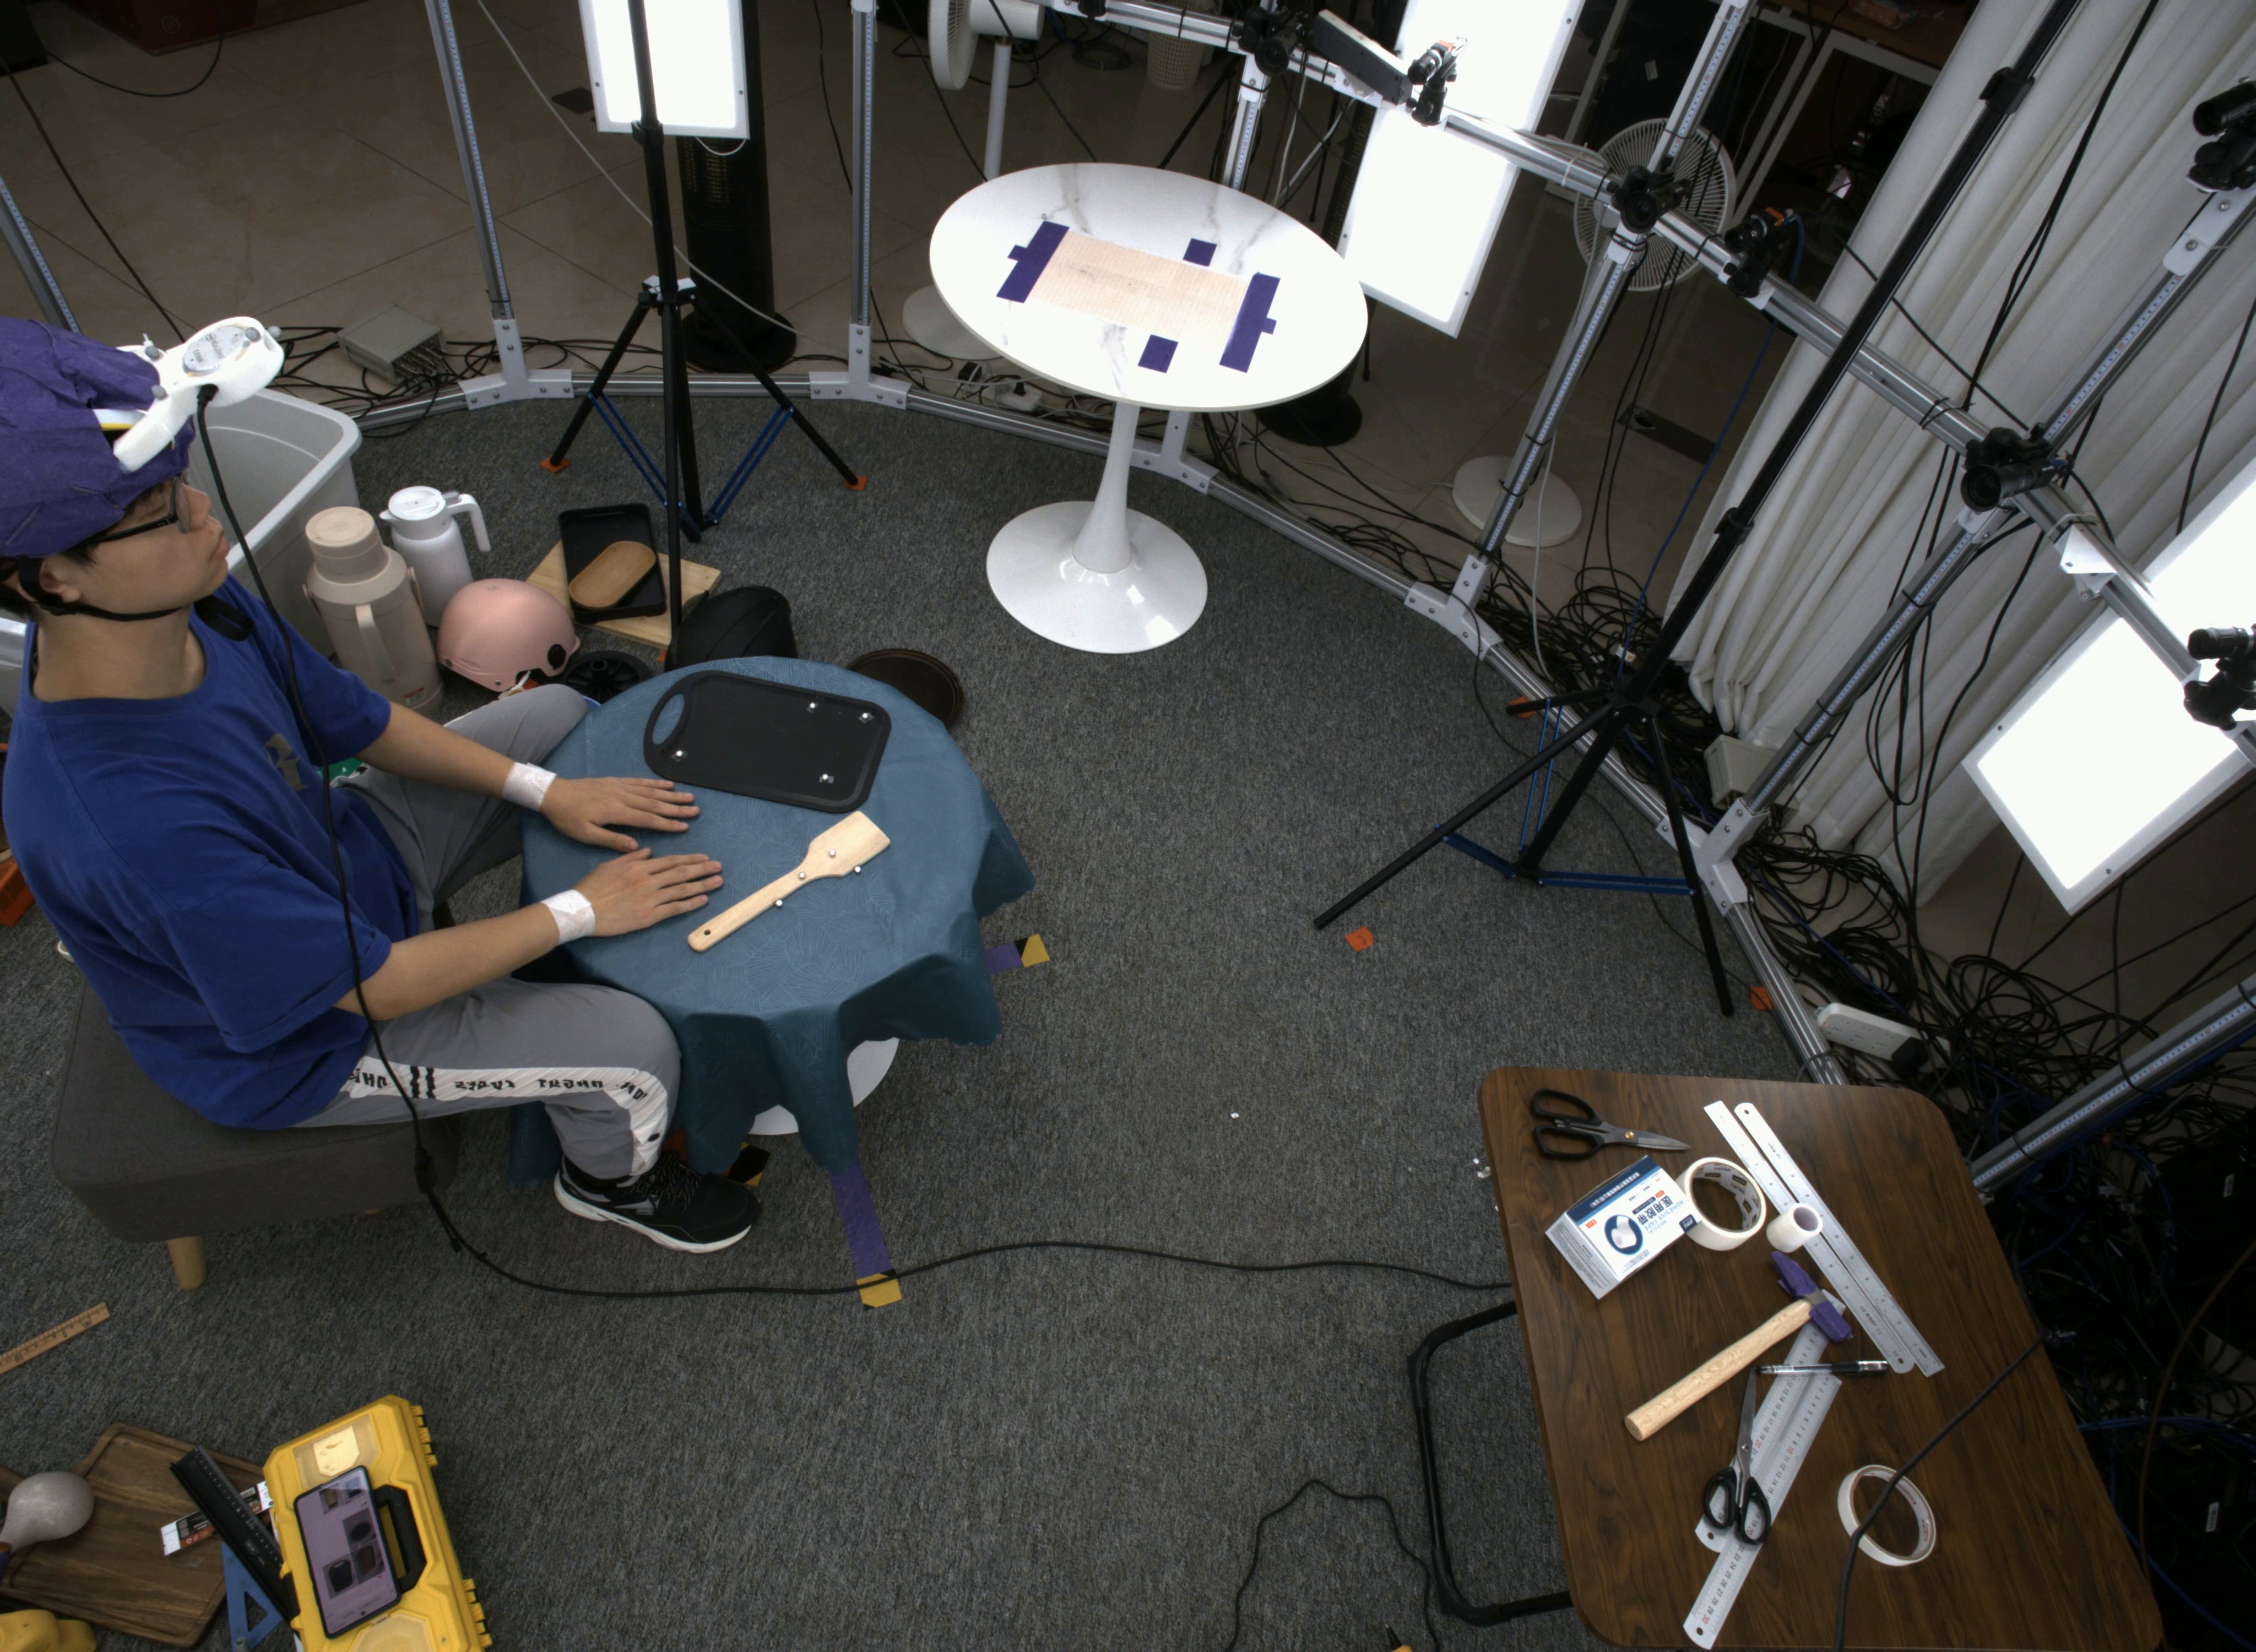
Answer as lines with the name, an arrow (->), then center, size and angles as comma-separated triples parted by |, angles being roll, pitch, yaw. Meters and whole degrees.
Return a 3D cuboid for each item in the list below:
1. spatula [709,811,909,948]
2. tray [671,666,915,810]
spatula -> -0.414, 0.072, 1.677 | 0.071, 0.011, 0.294 | 44, 56, 17
tray -> -0.473, -0.129, 1.813 | 0.323, 0.010, 0.208 | 14, 52, -4
